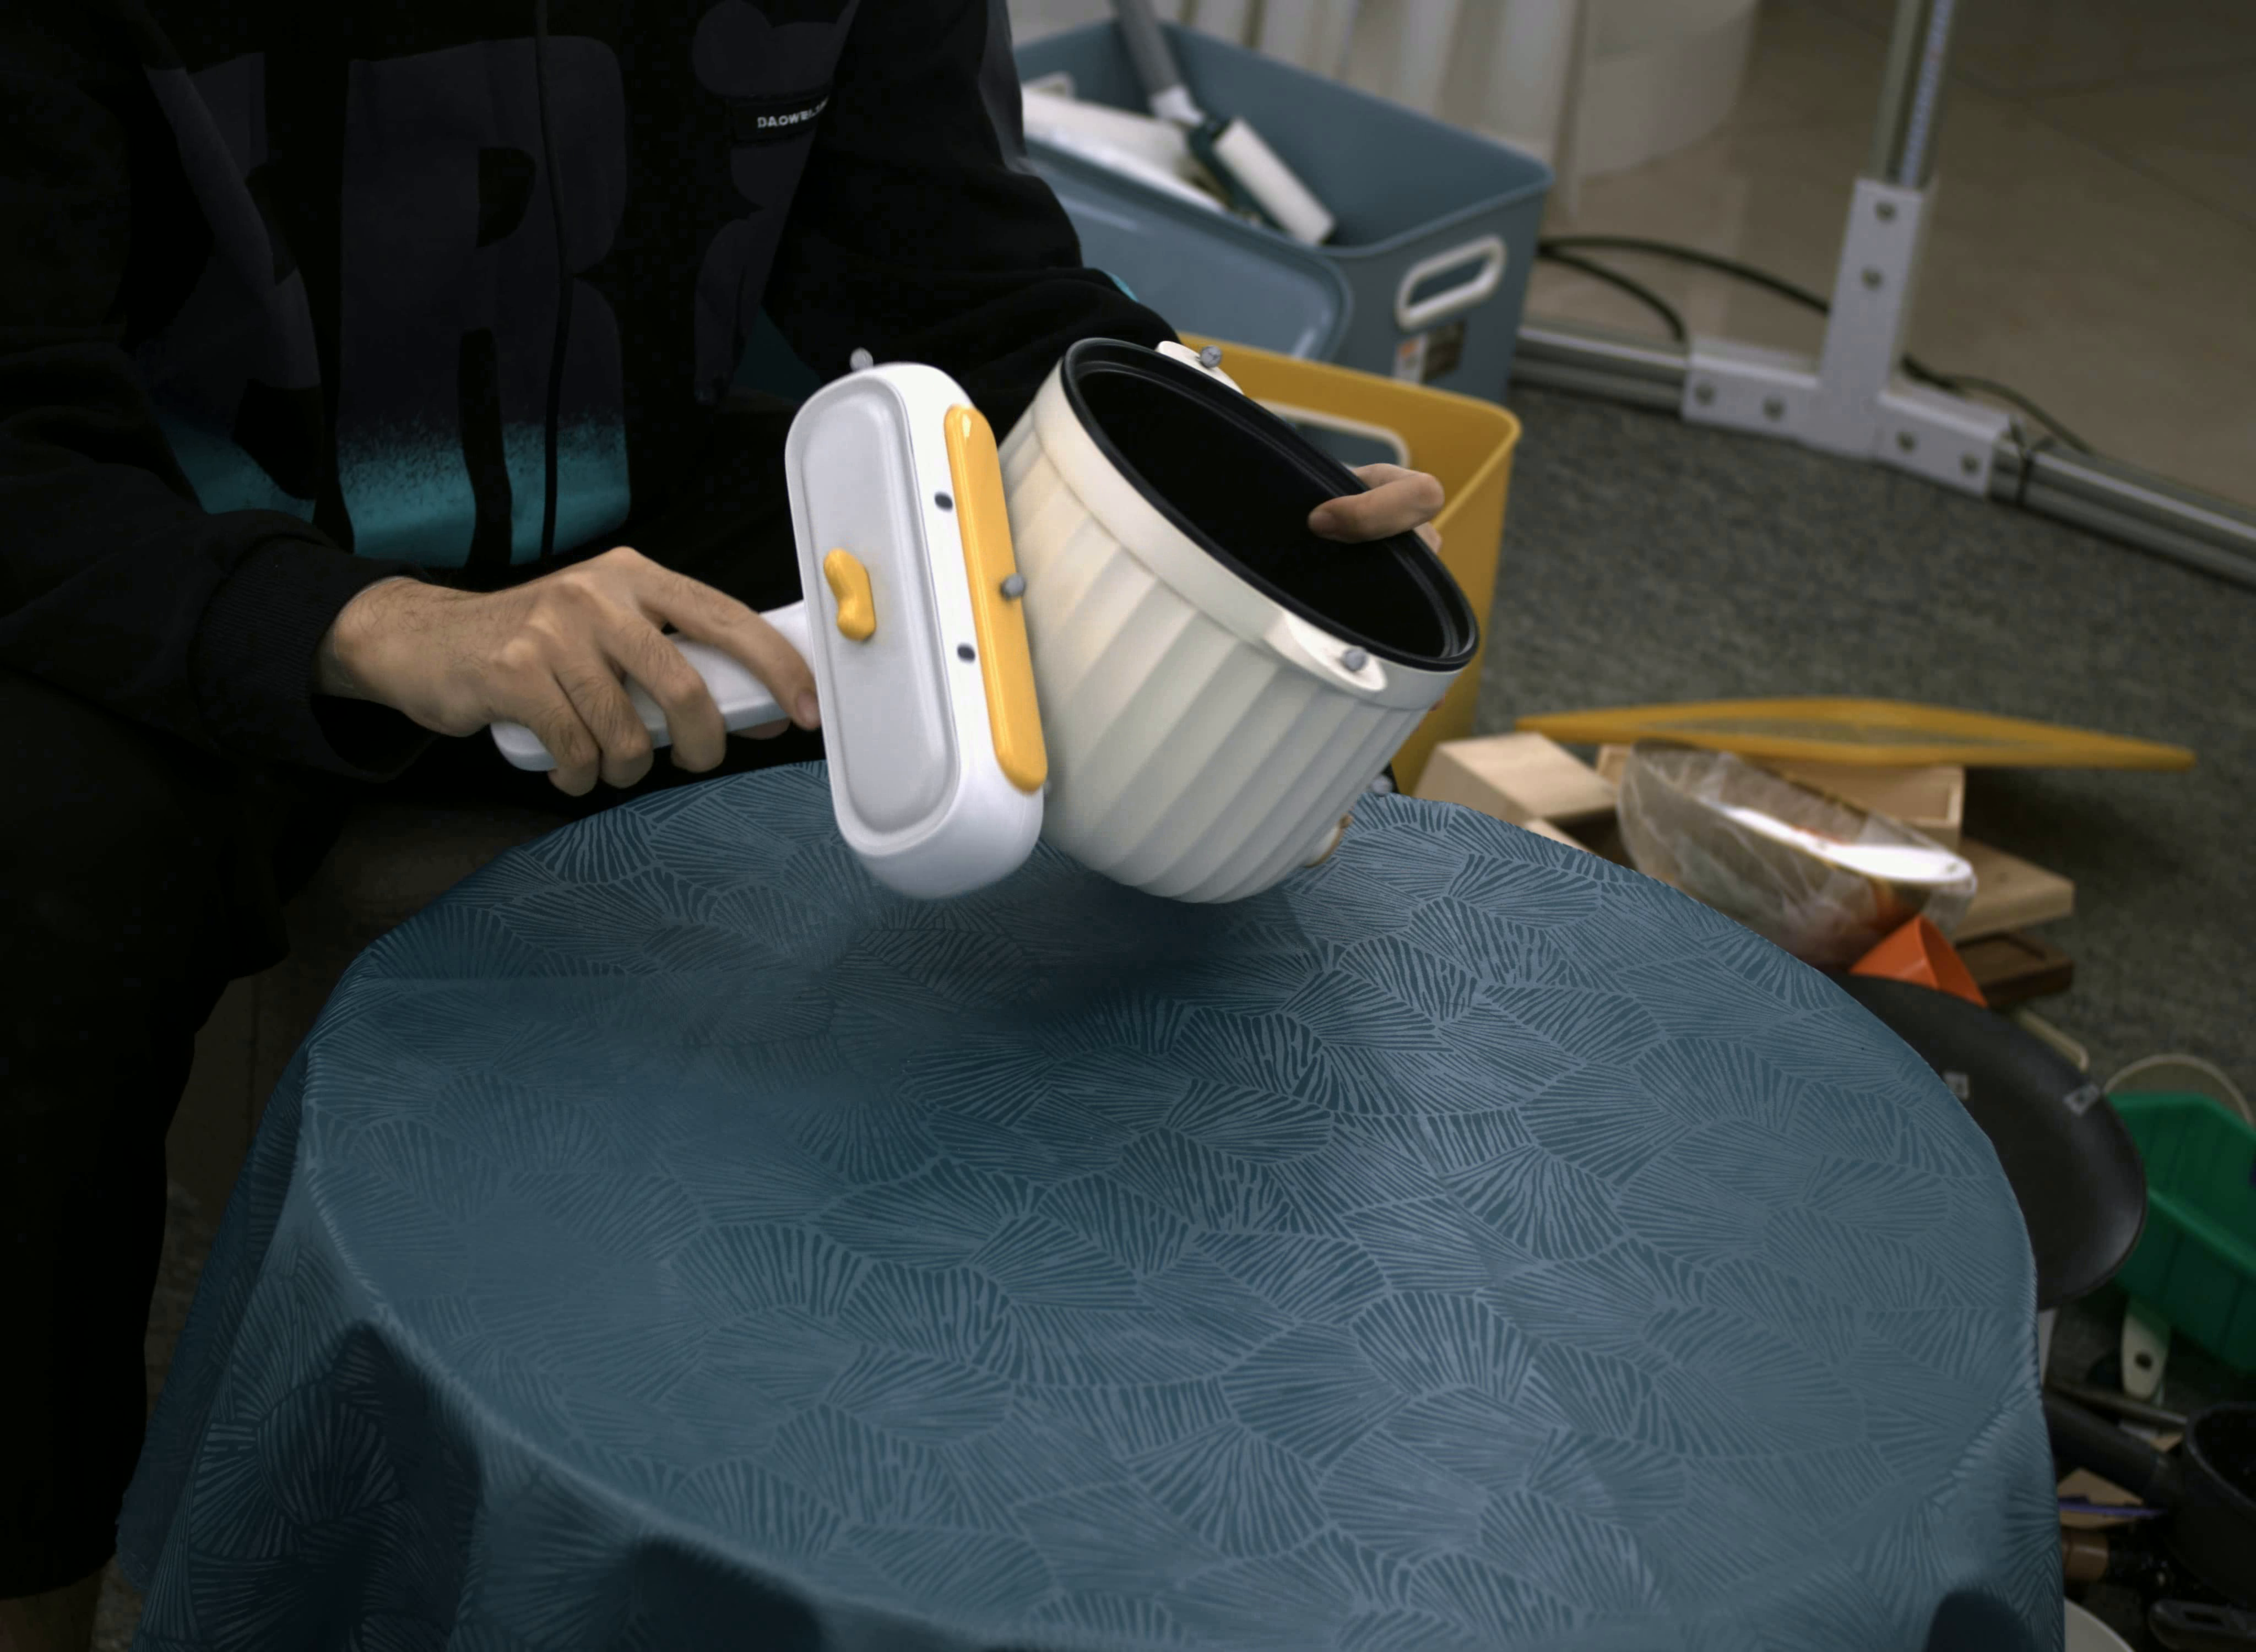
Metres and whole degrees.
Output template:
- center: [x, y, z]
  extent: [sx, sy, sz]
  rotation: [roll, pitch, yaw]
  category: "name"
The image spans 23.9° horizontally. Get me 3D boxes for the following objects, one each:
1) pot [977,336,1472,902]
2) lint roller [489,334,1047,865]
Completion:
- center: [0.015, -0.065, 1.913]
  extent: [0.189, 0.142, 0.242]
  rotation: [24, 25, -26]
  category: "pot"
- center: [-0.130, -0.060, 1.849]
  extent: [0.192, 0.194, 0.073]
  rotation: [-23, -21, 20]
  category: "lint roller"
